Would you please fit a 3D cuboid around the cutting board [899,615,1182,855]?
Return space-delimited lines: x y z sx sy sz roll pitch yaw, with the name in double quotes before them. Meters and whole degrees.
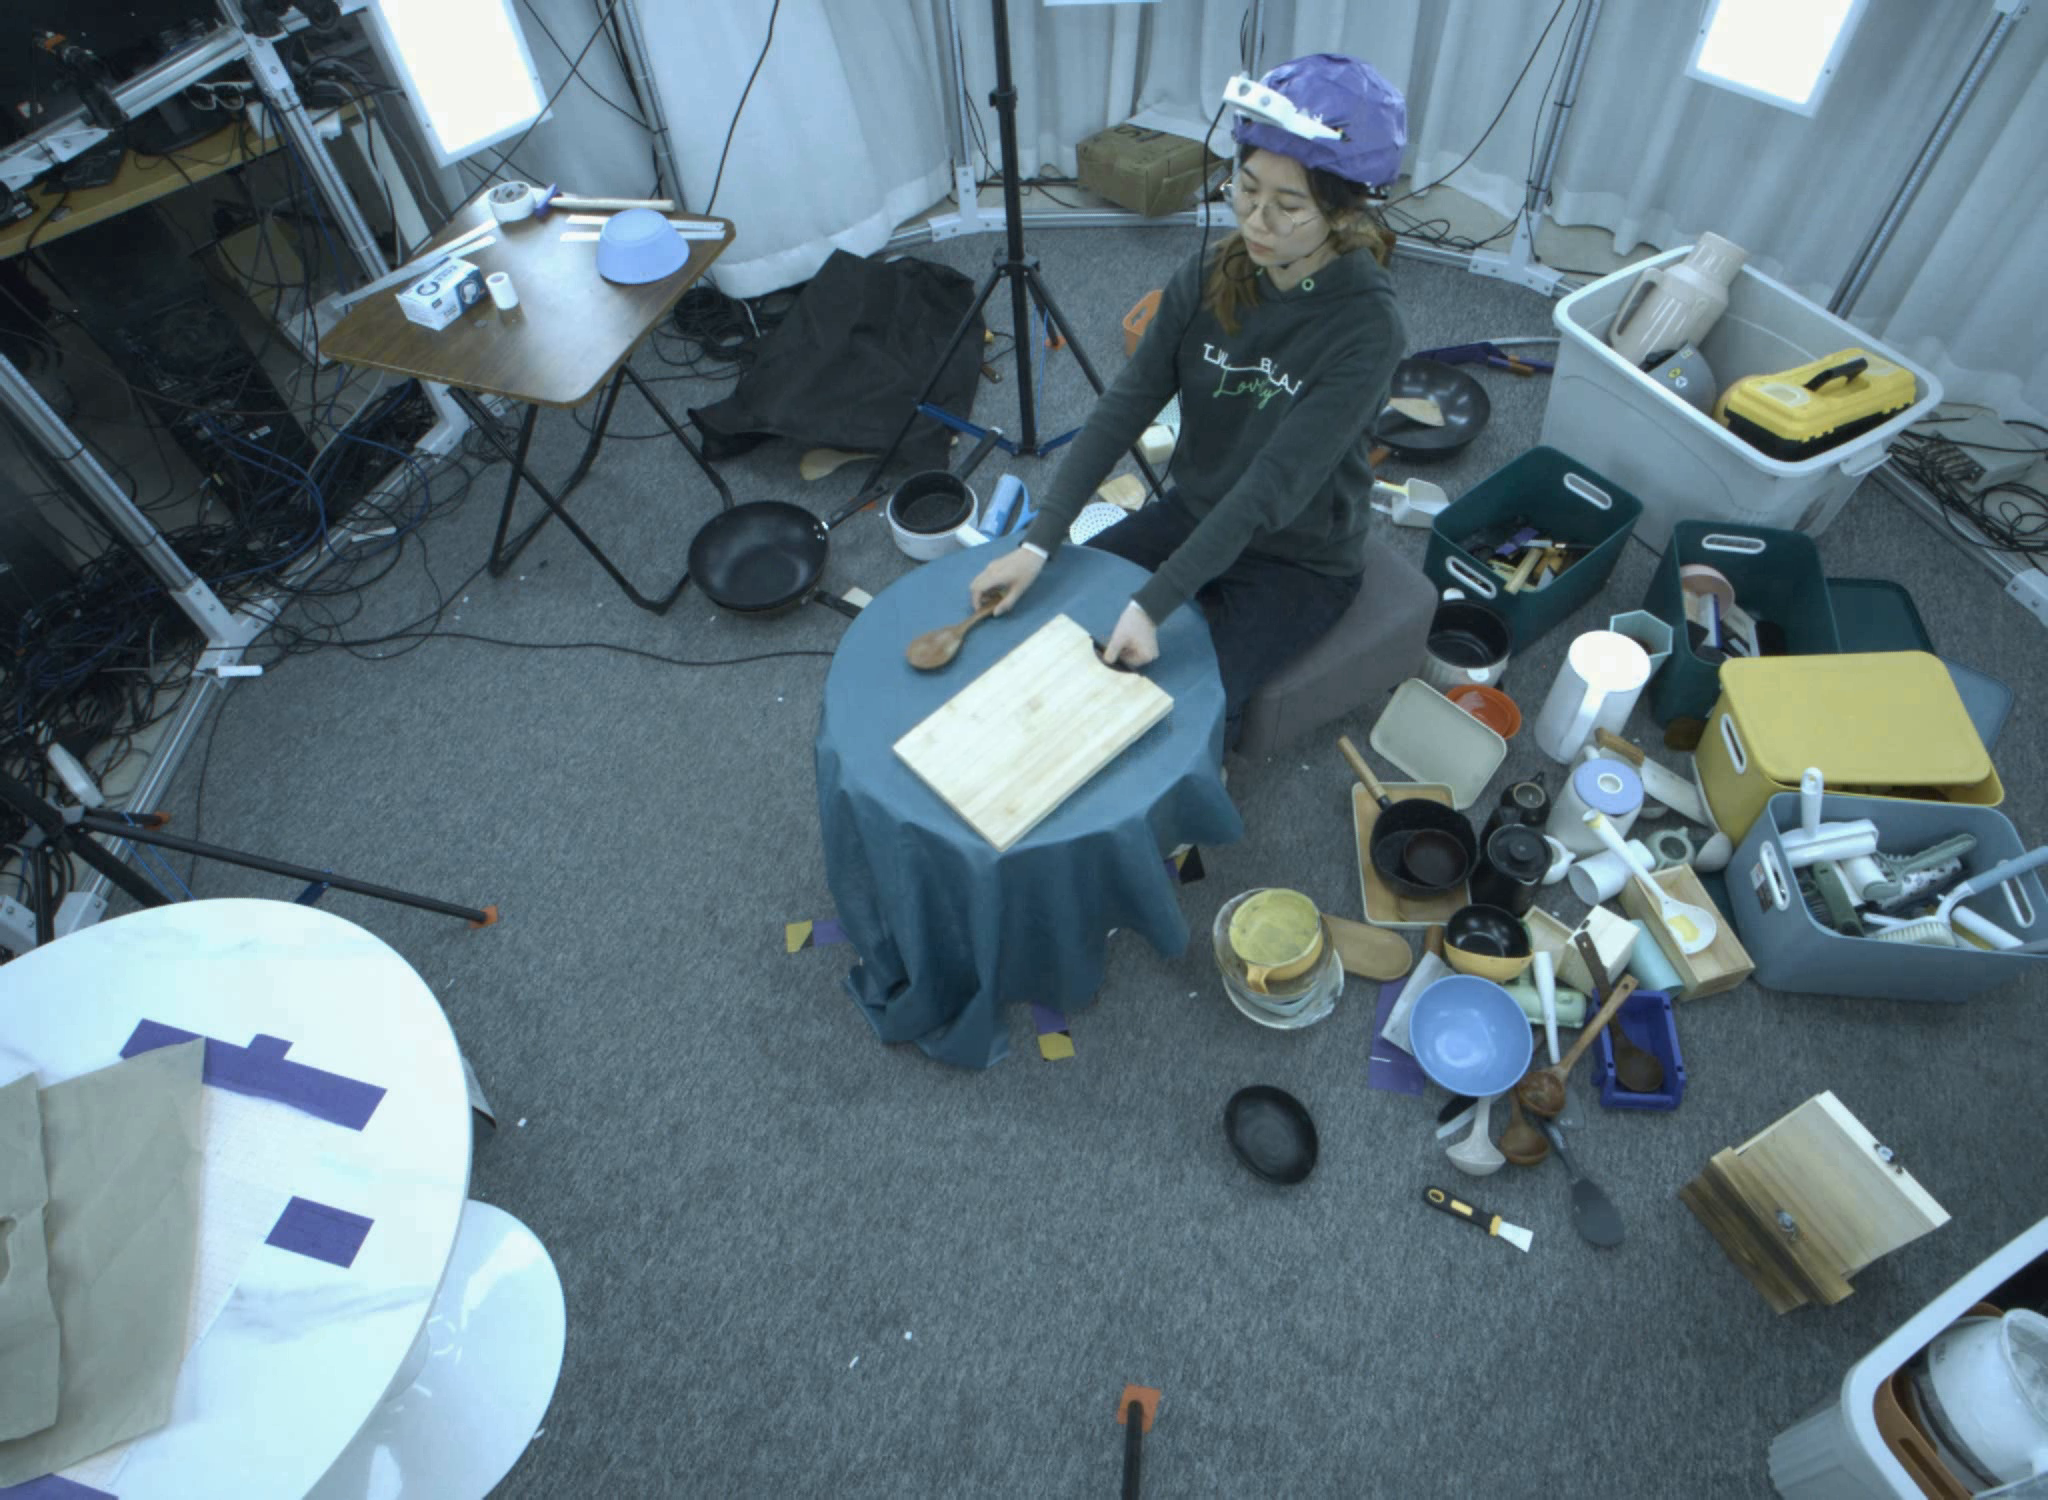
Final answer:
"cutting board" 0.022 -0.032 1.795 0.350 0.024 0.246 -40 64 -19

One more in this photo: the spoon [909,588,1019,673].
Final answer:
"spoon" -0.091 -0.187 1.917 0.217 0.017 0.074 -40 55 -21
